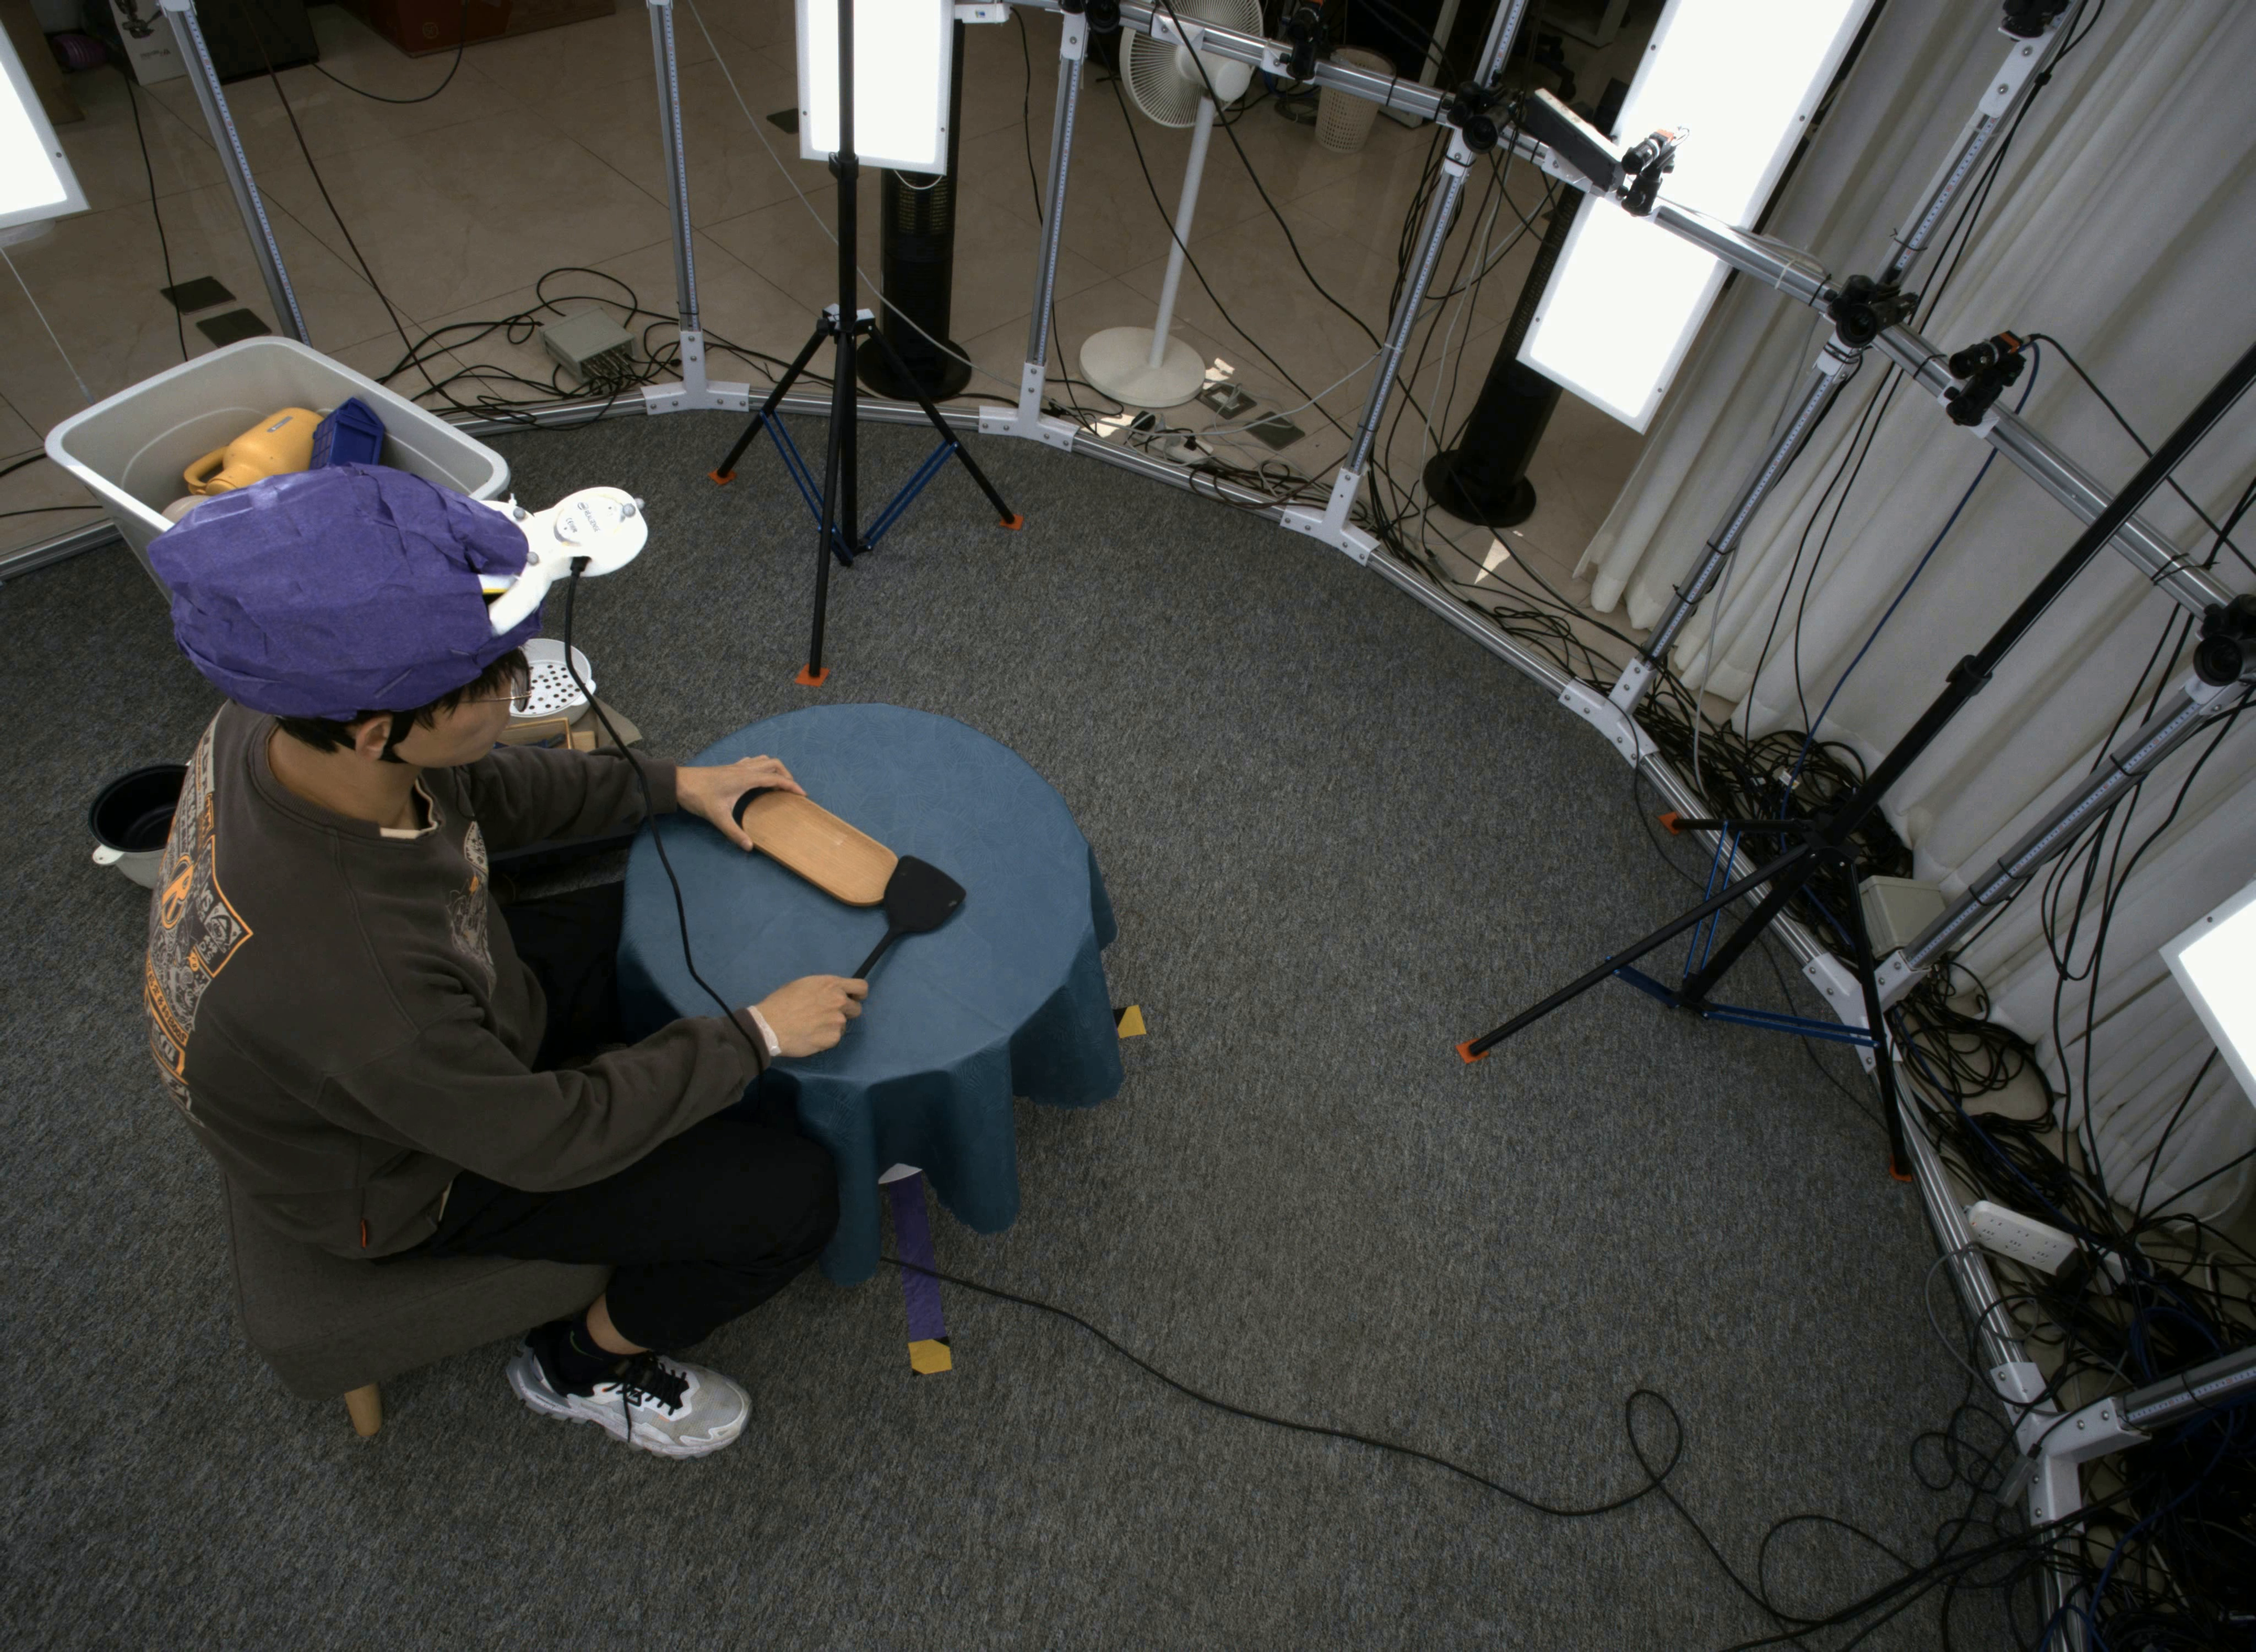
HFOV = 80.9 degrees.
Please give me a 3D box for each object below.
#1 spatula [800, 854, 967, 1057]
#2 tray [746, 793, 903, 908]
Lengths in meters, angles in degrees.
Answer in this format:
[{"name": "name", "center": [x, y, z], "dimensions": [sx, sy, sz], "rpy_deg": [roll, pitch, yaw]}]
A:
[{"name": "spatula", "center": [-0.313, 0.159, 1.607], "dimensions": [0.099, 0.041, 0.324], "rpy_deg": [32, 43, 0]}, {"name": "tray", "center": [-0.399, 0.031, 1.709], "dimensions": [0.228, 0.020, 0.101], "rpy_deg": [31, 53, 7]}]
